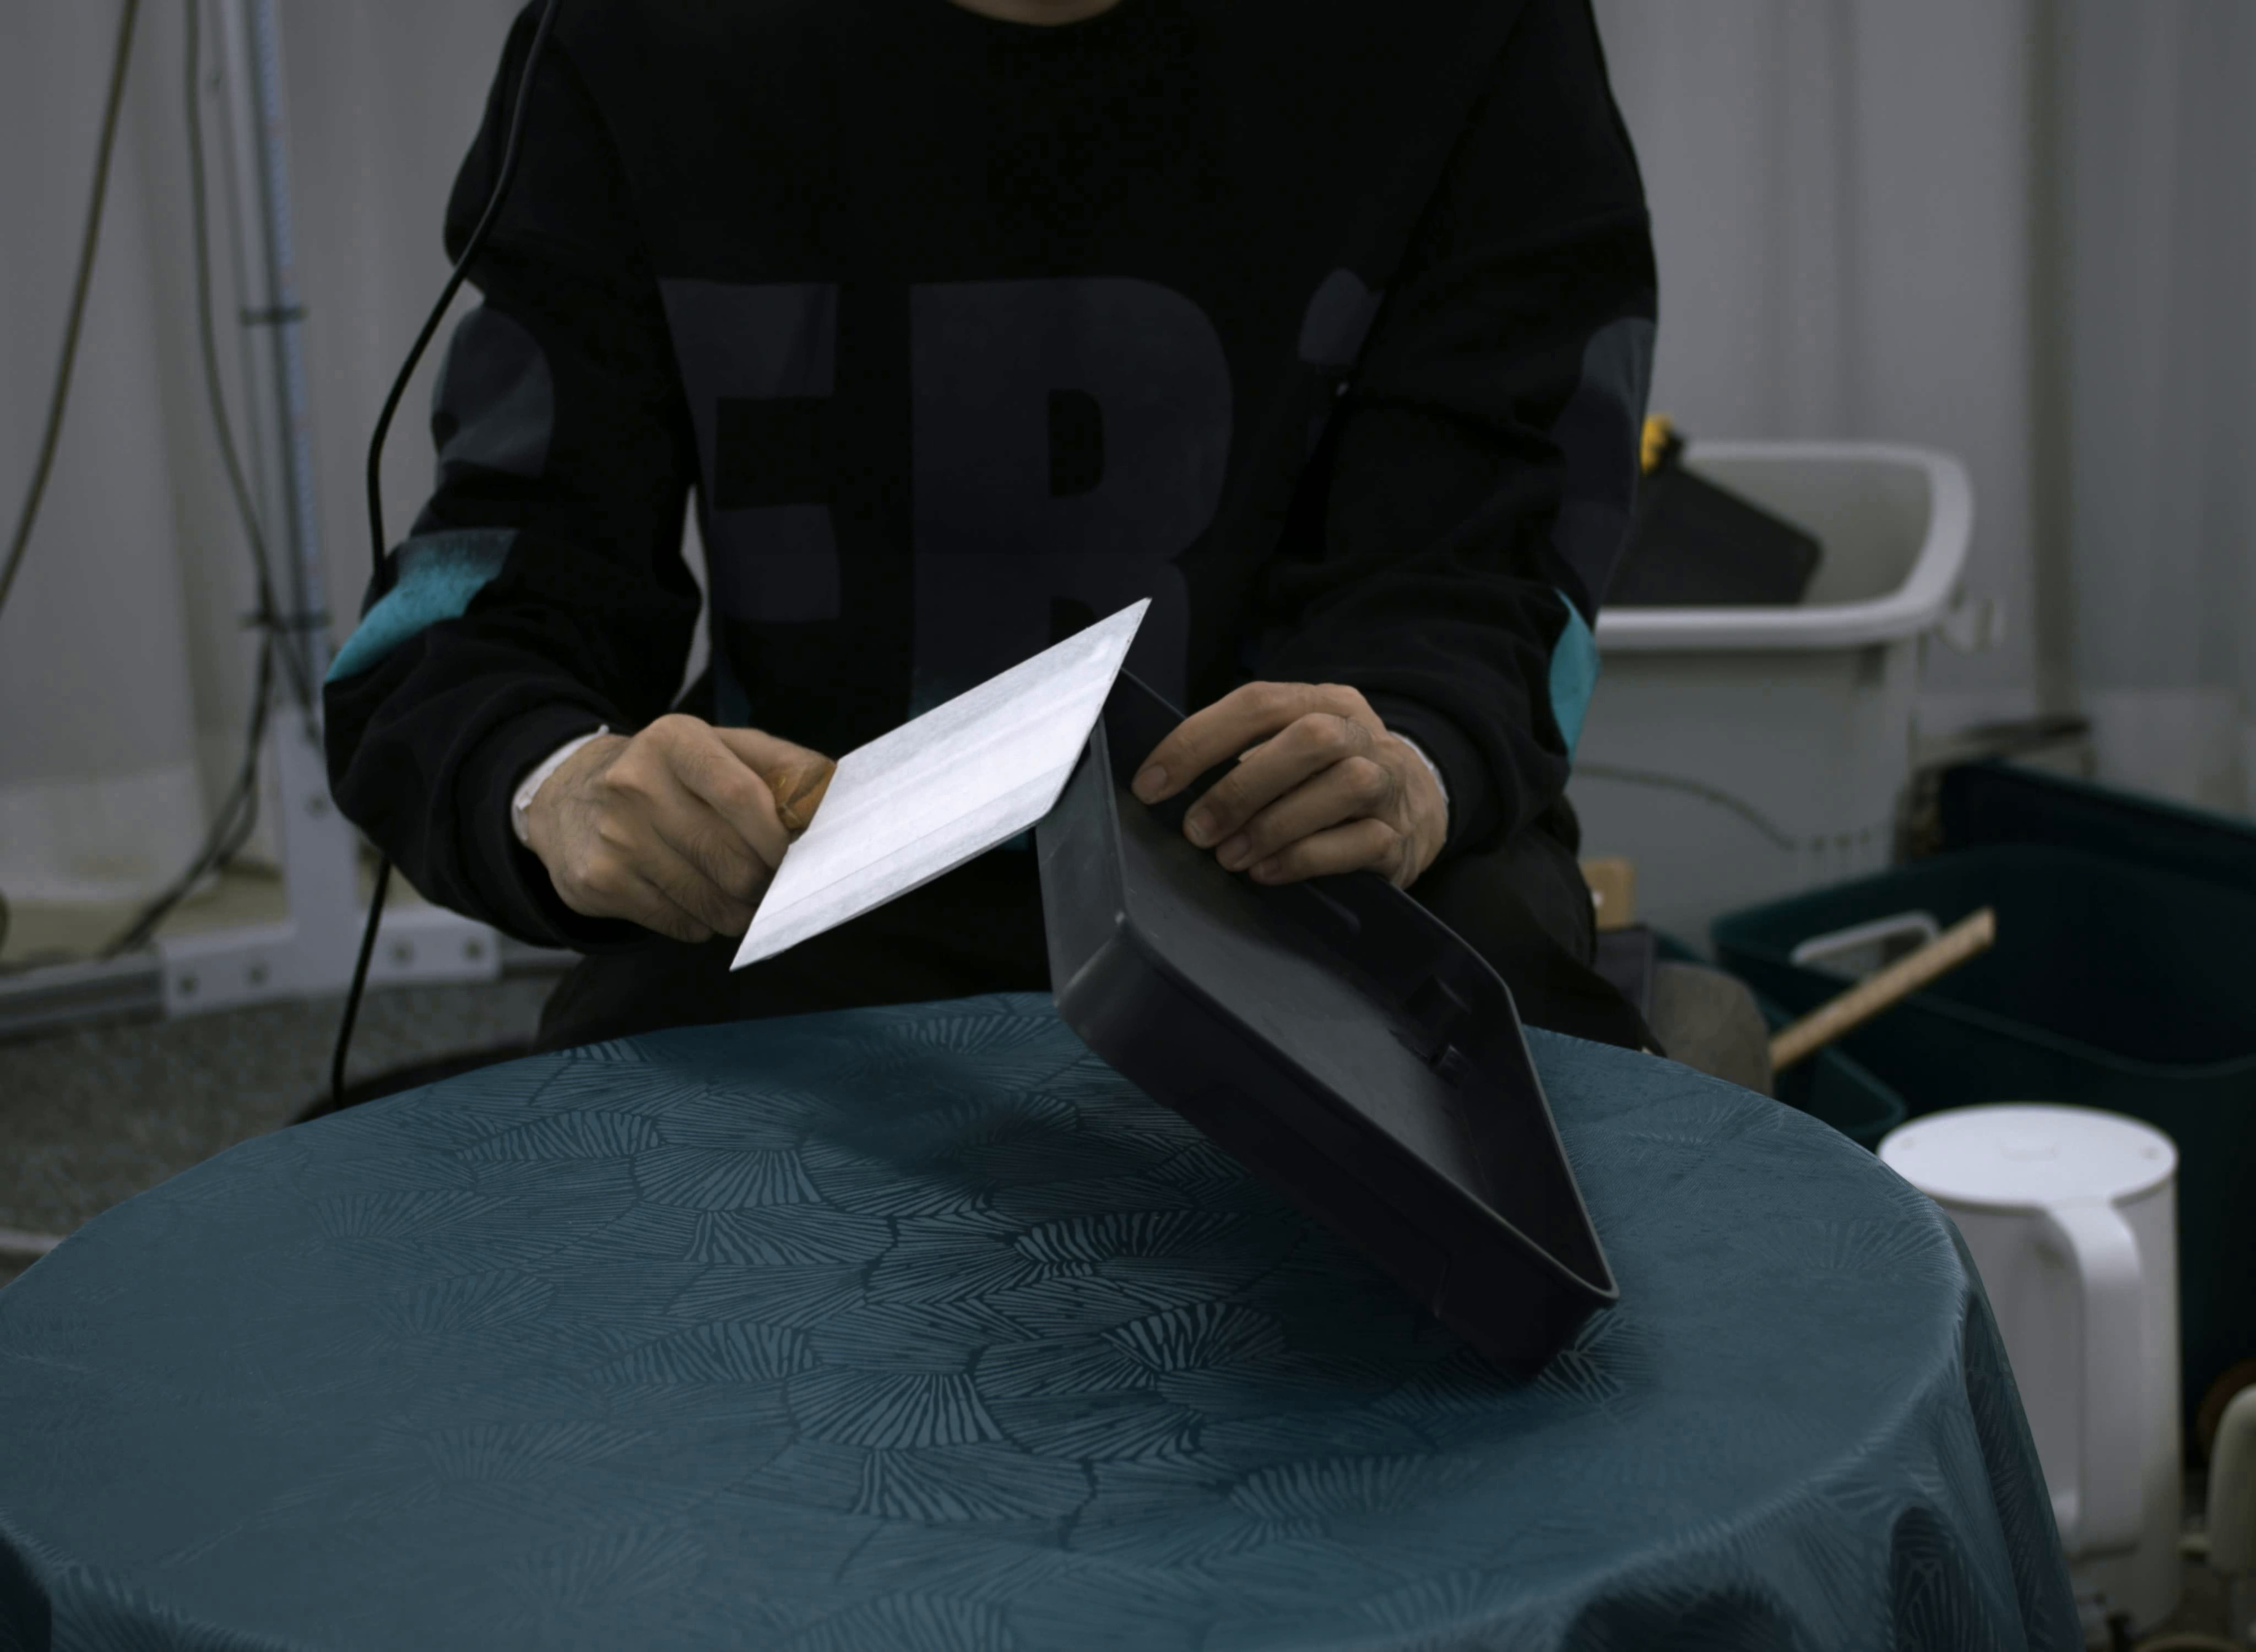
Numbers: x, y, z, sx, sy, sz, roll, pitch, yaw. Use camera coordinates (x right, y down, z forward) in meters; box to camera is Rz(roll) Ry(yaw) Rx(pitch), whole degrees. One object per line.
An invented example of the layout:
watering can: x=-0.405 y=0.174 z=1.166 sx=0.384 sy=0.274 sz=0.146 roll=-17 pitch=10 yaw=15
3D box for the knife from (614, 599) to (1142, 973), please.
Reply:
knife: x=-0.094 y=0.003 z=1.804 sx=0.305 sy=0.021 sz=0.094 roll=-26 pitch=34 yaw=51

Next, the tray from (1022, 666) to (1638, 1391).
tray: x=0.052 y=0.052 z=1.646 sx=0.183 sy=0.037 sz=0.320 roll=37 pitch=11 yaw=-14
